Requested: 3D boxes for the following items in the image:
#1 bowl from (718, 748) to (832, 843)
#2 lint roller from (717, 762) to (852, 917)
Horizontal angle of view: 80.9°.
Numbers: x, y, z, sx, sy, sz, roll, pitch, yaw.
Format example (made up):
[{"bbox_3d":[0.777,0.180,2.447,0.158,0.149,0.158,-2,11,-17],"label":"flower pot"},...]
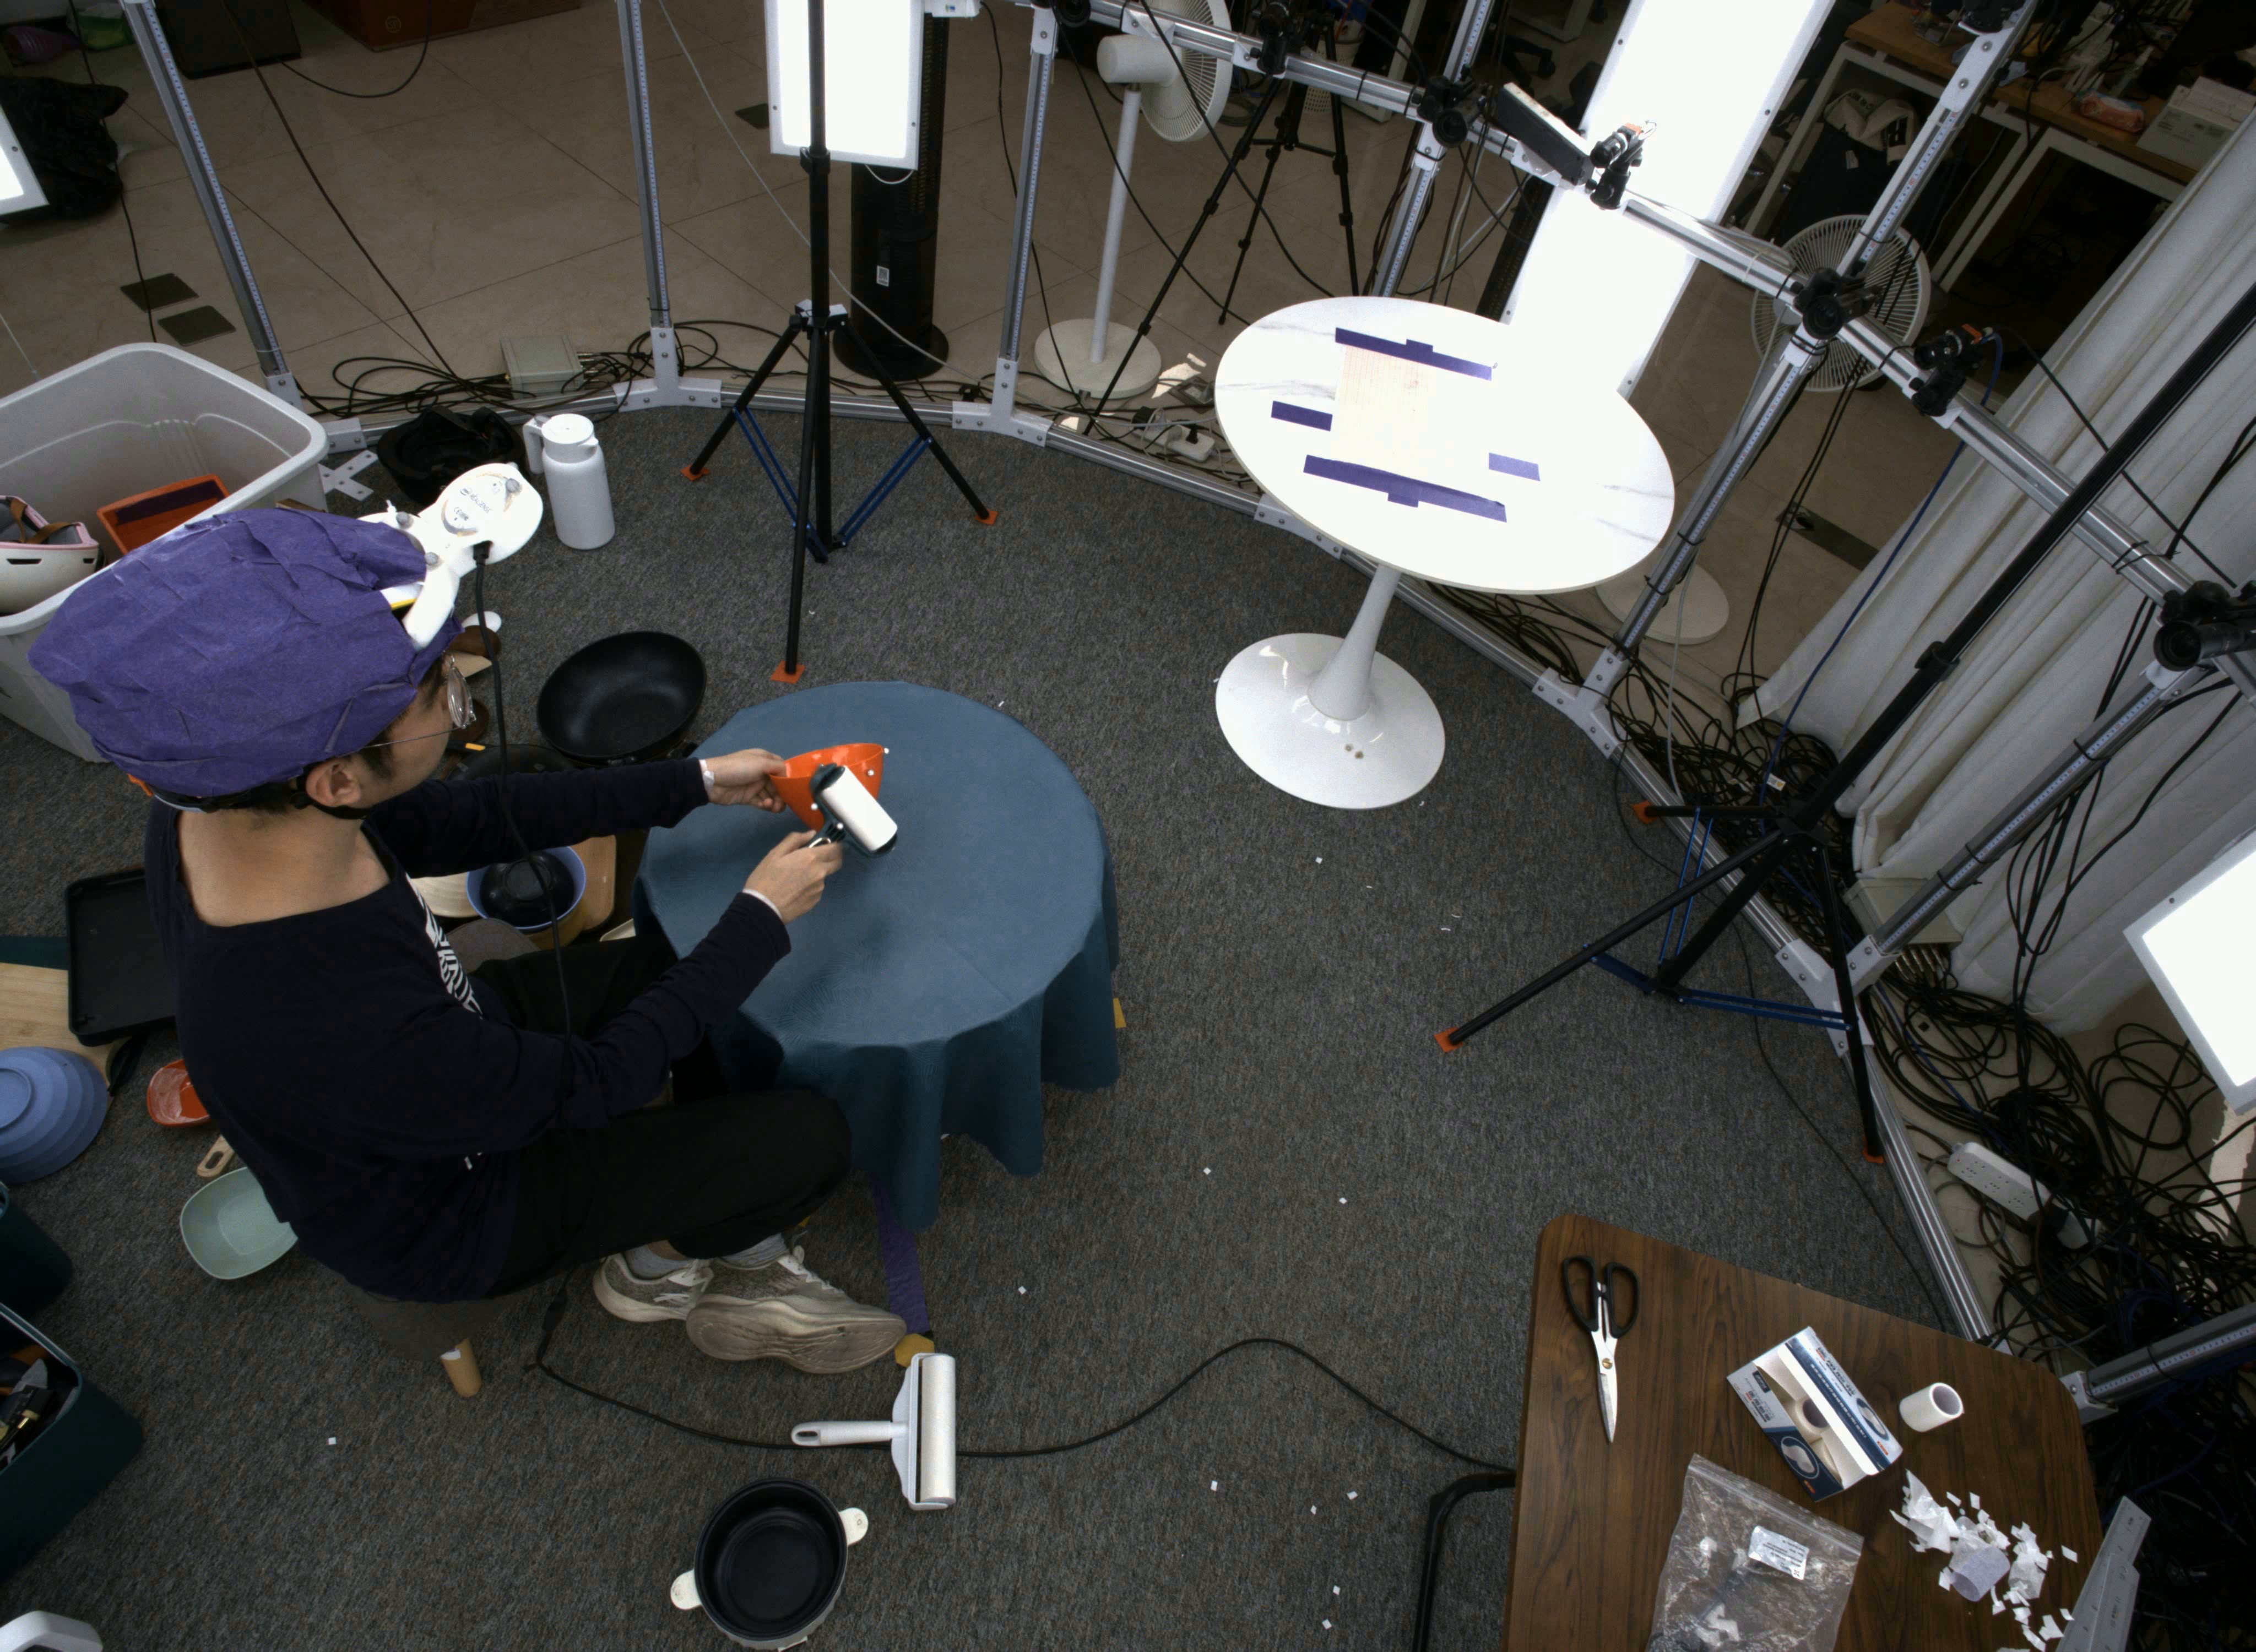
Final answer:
[{"bbox_3d":[-0.435,-0.034,1.641,0.149,0.144,0.107,-21,100,-26],"label":"bowl"},{"bbox_3d":[-0.419,0.033,1.532,0.139,0.047,0.179,51,57,-30],"label":"lint roller"}]
